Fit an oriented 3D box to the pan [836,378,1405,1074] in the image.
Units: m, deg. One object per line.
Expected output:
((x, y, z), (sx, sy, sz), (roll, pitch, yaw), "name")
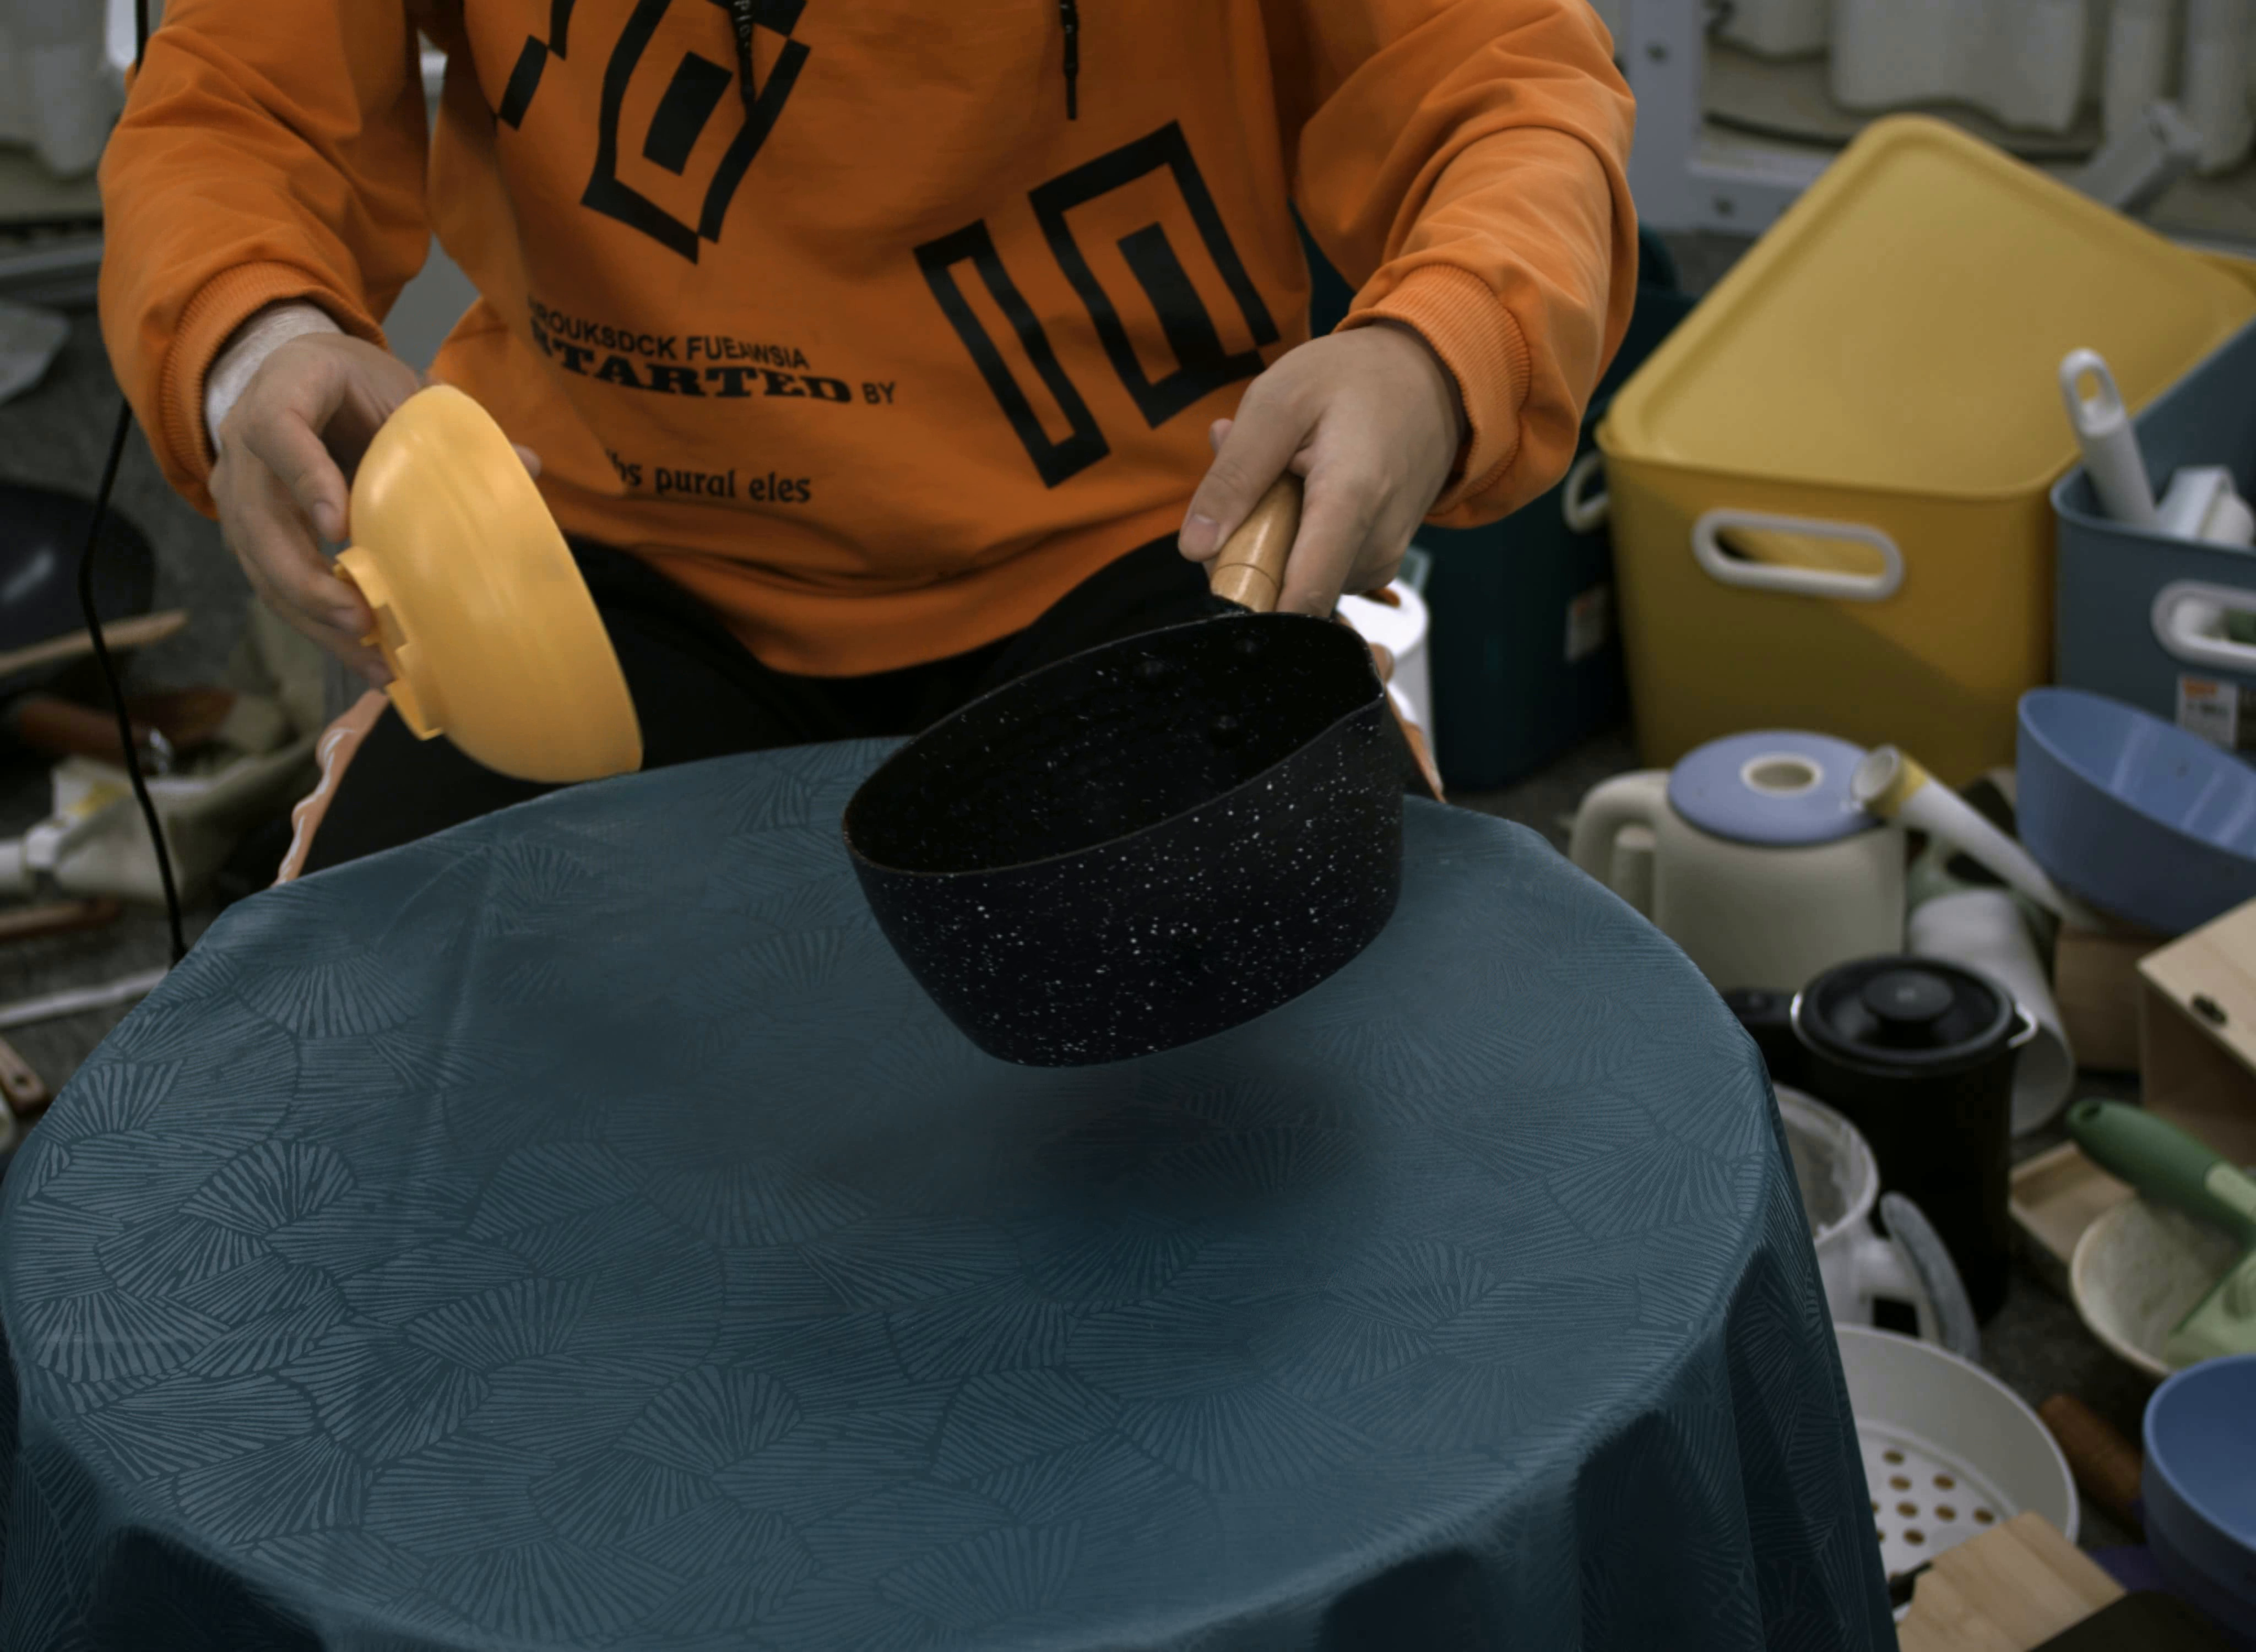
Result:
((0.025, -0.038, 1.919), (0.205, 0.107, 0.349), (-12, 23, 24), "pan")

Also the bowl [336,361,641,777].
((-0.215, -0.072, 1.819), (0.060, 0.144, 0.146), (-27, 33, -14), "bowl")
